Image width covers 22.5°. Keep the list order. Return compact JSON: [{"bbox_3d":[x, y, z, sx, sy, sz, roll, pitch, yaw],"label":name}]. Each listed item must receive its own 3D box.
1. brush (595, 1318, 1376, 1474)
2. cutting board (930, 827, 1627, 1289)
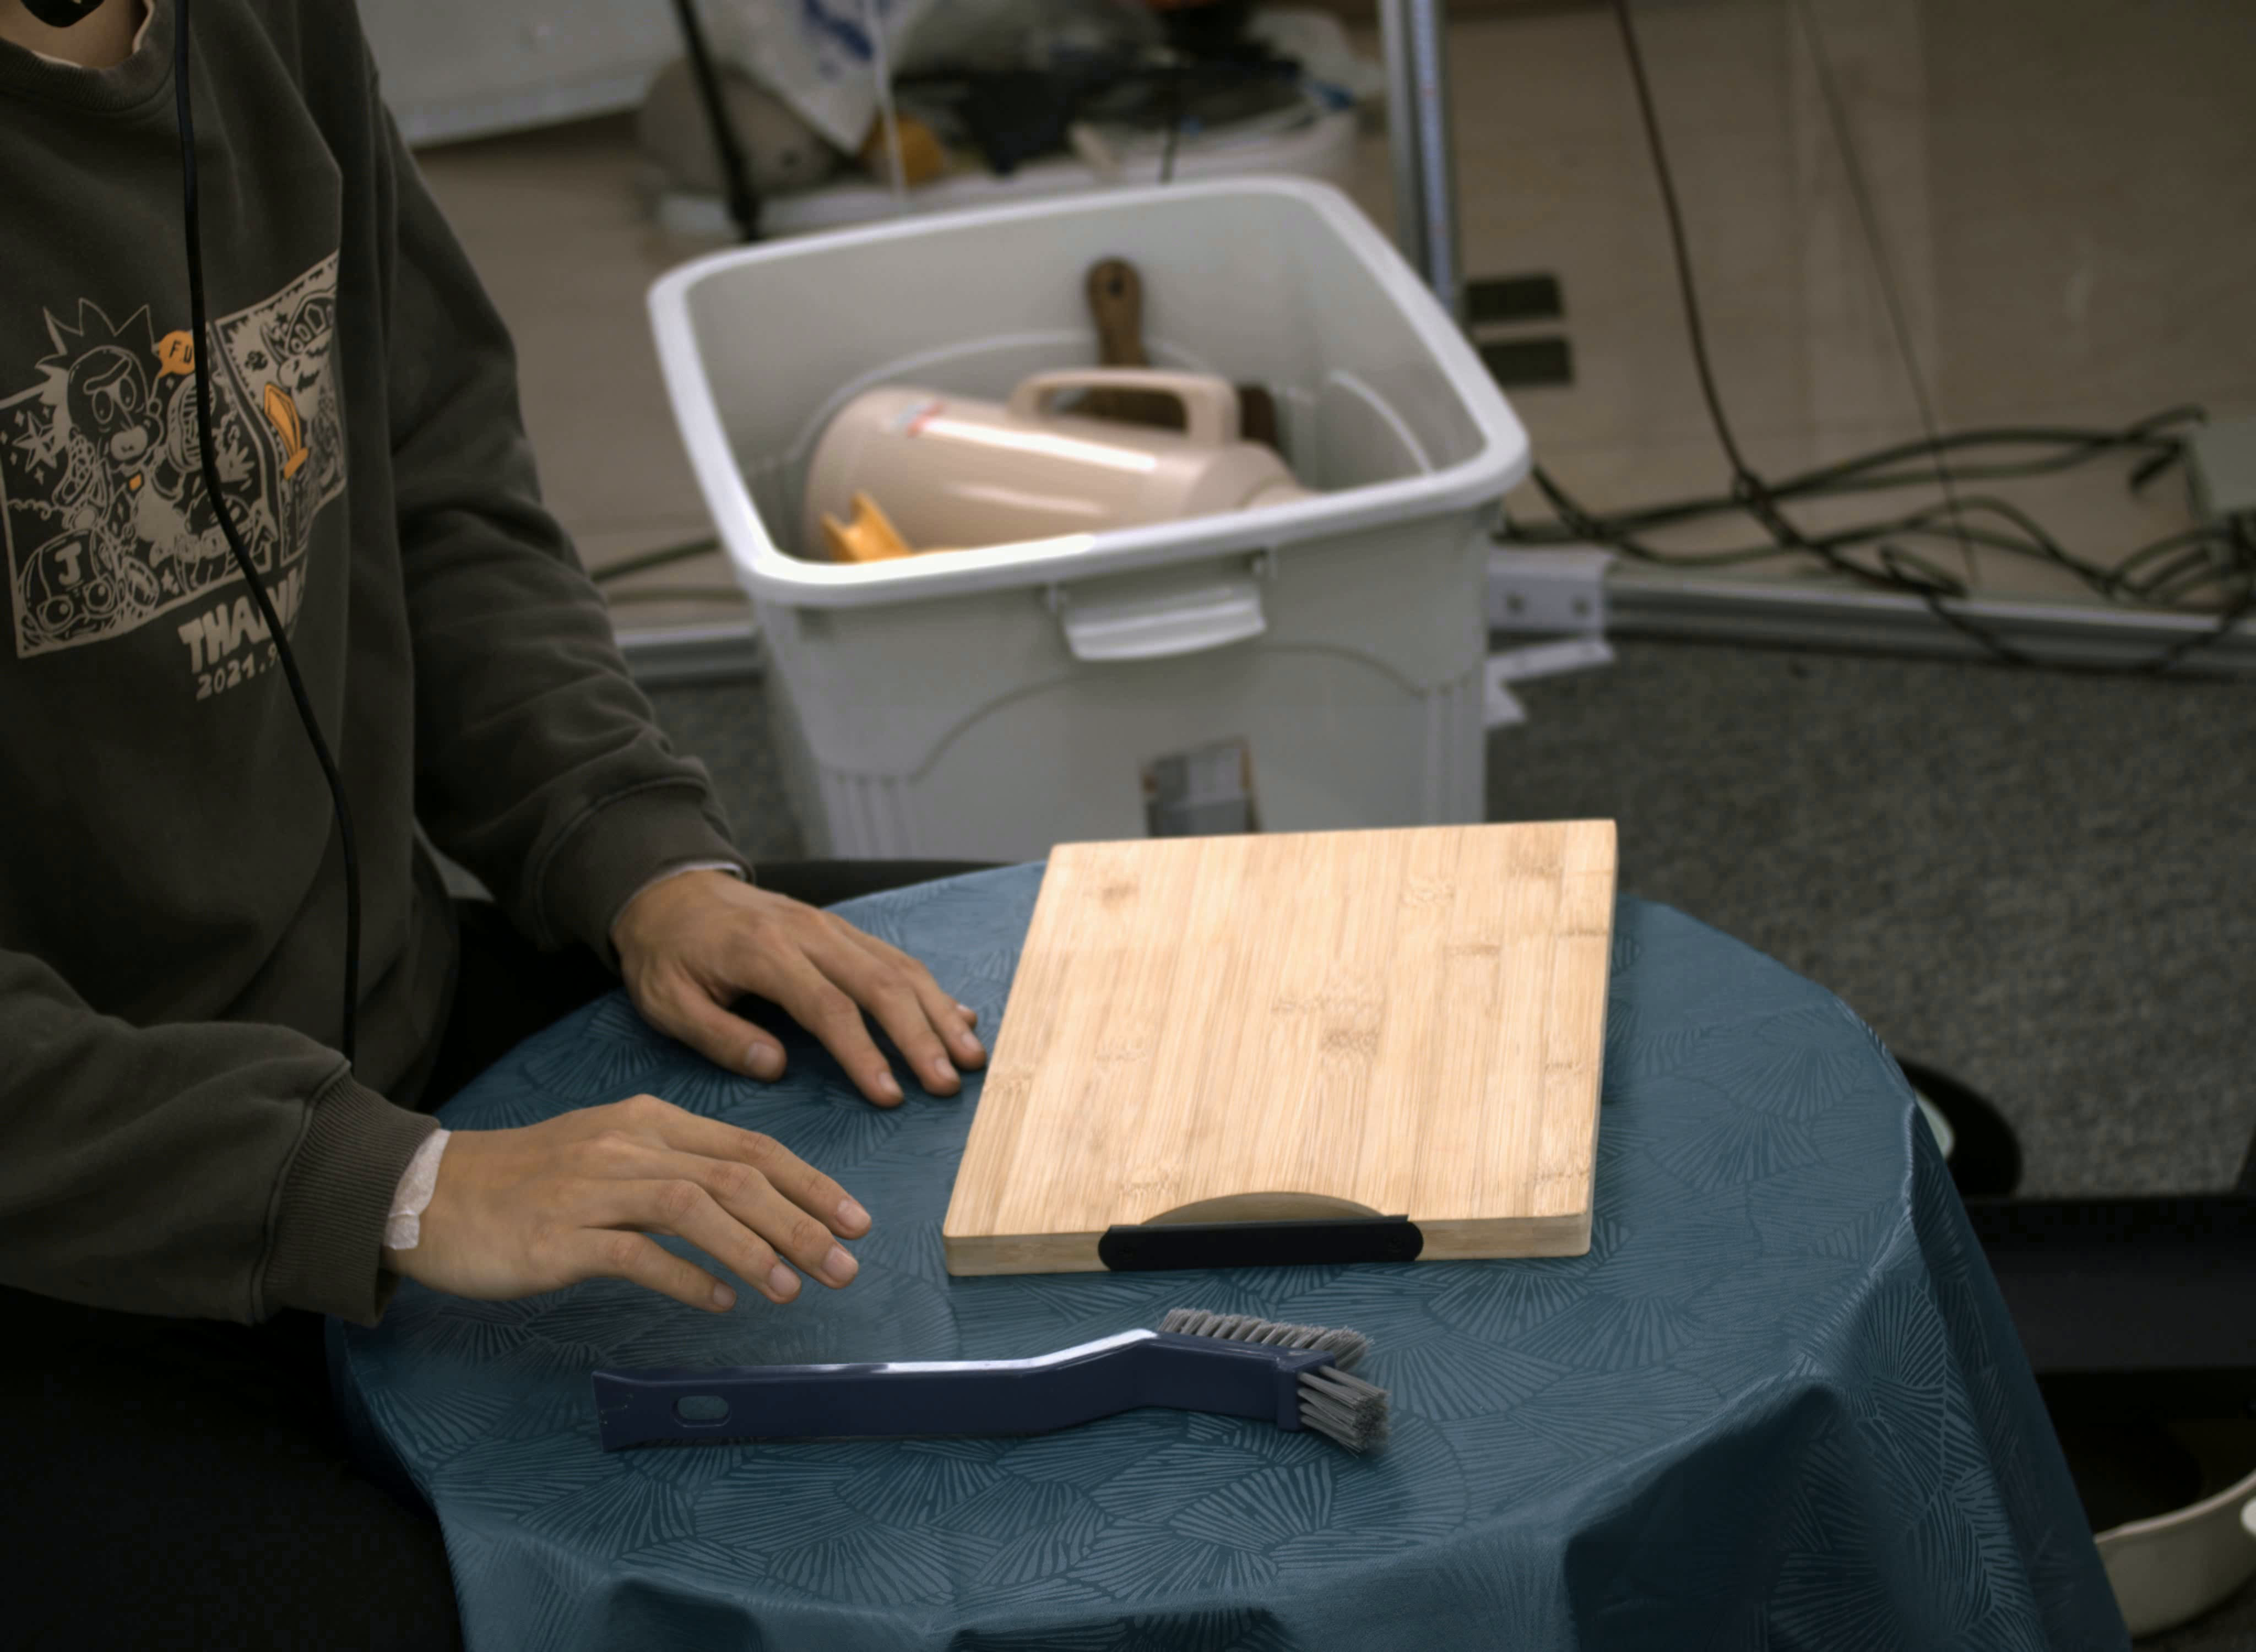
[{"bbox_3d":[-0.052,0.202,1.988,0.273,0.034,0.094,-5,25,1],"label":"brush"},{"bbox_3d":[0.067,0.085,2.225,0.250,0.024,0.343,-4,25,8],"label":"cutting board"}]
